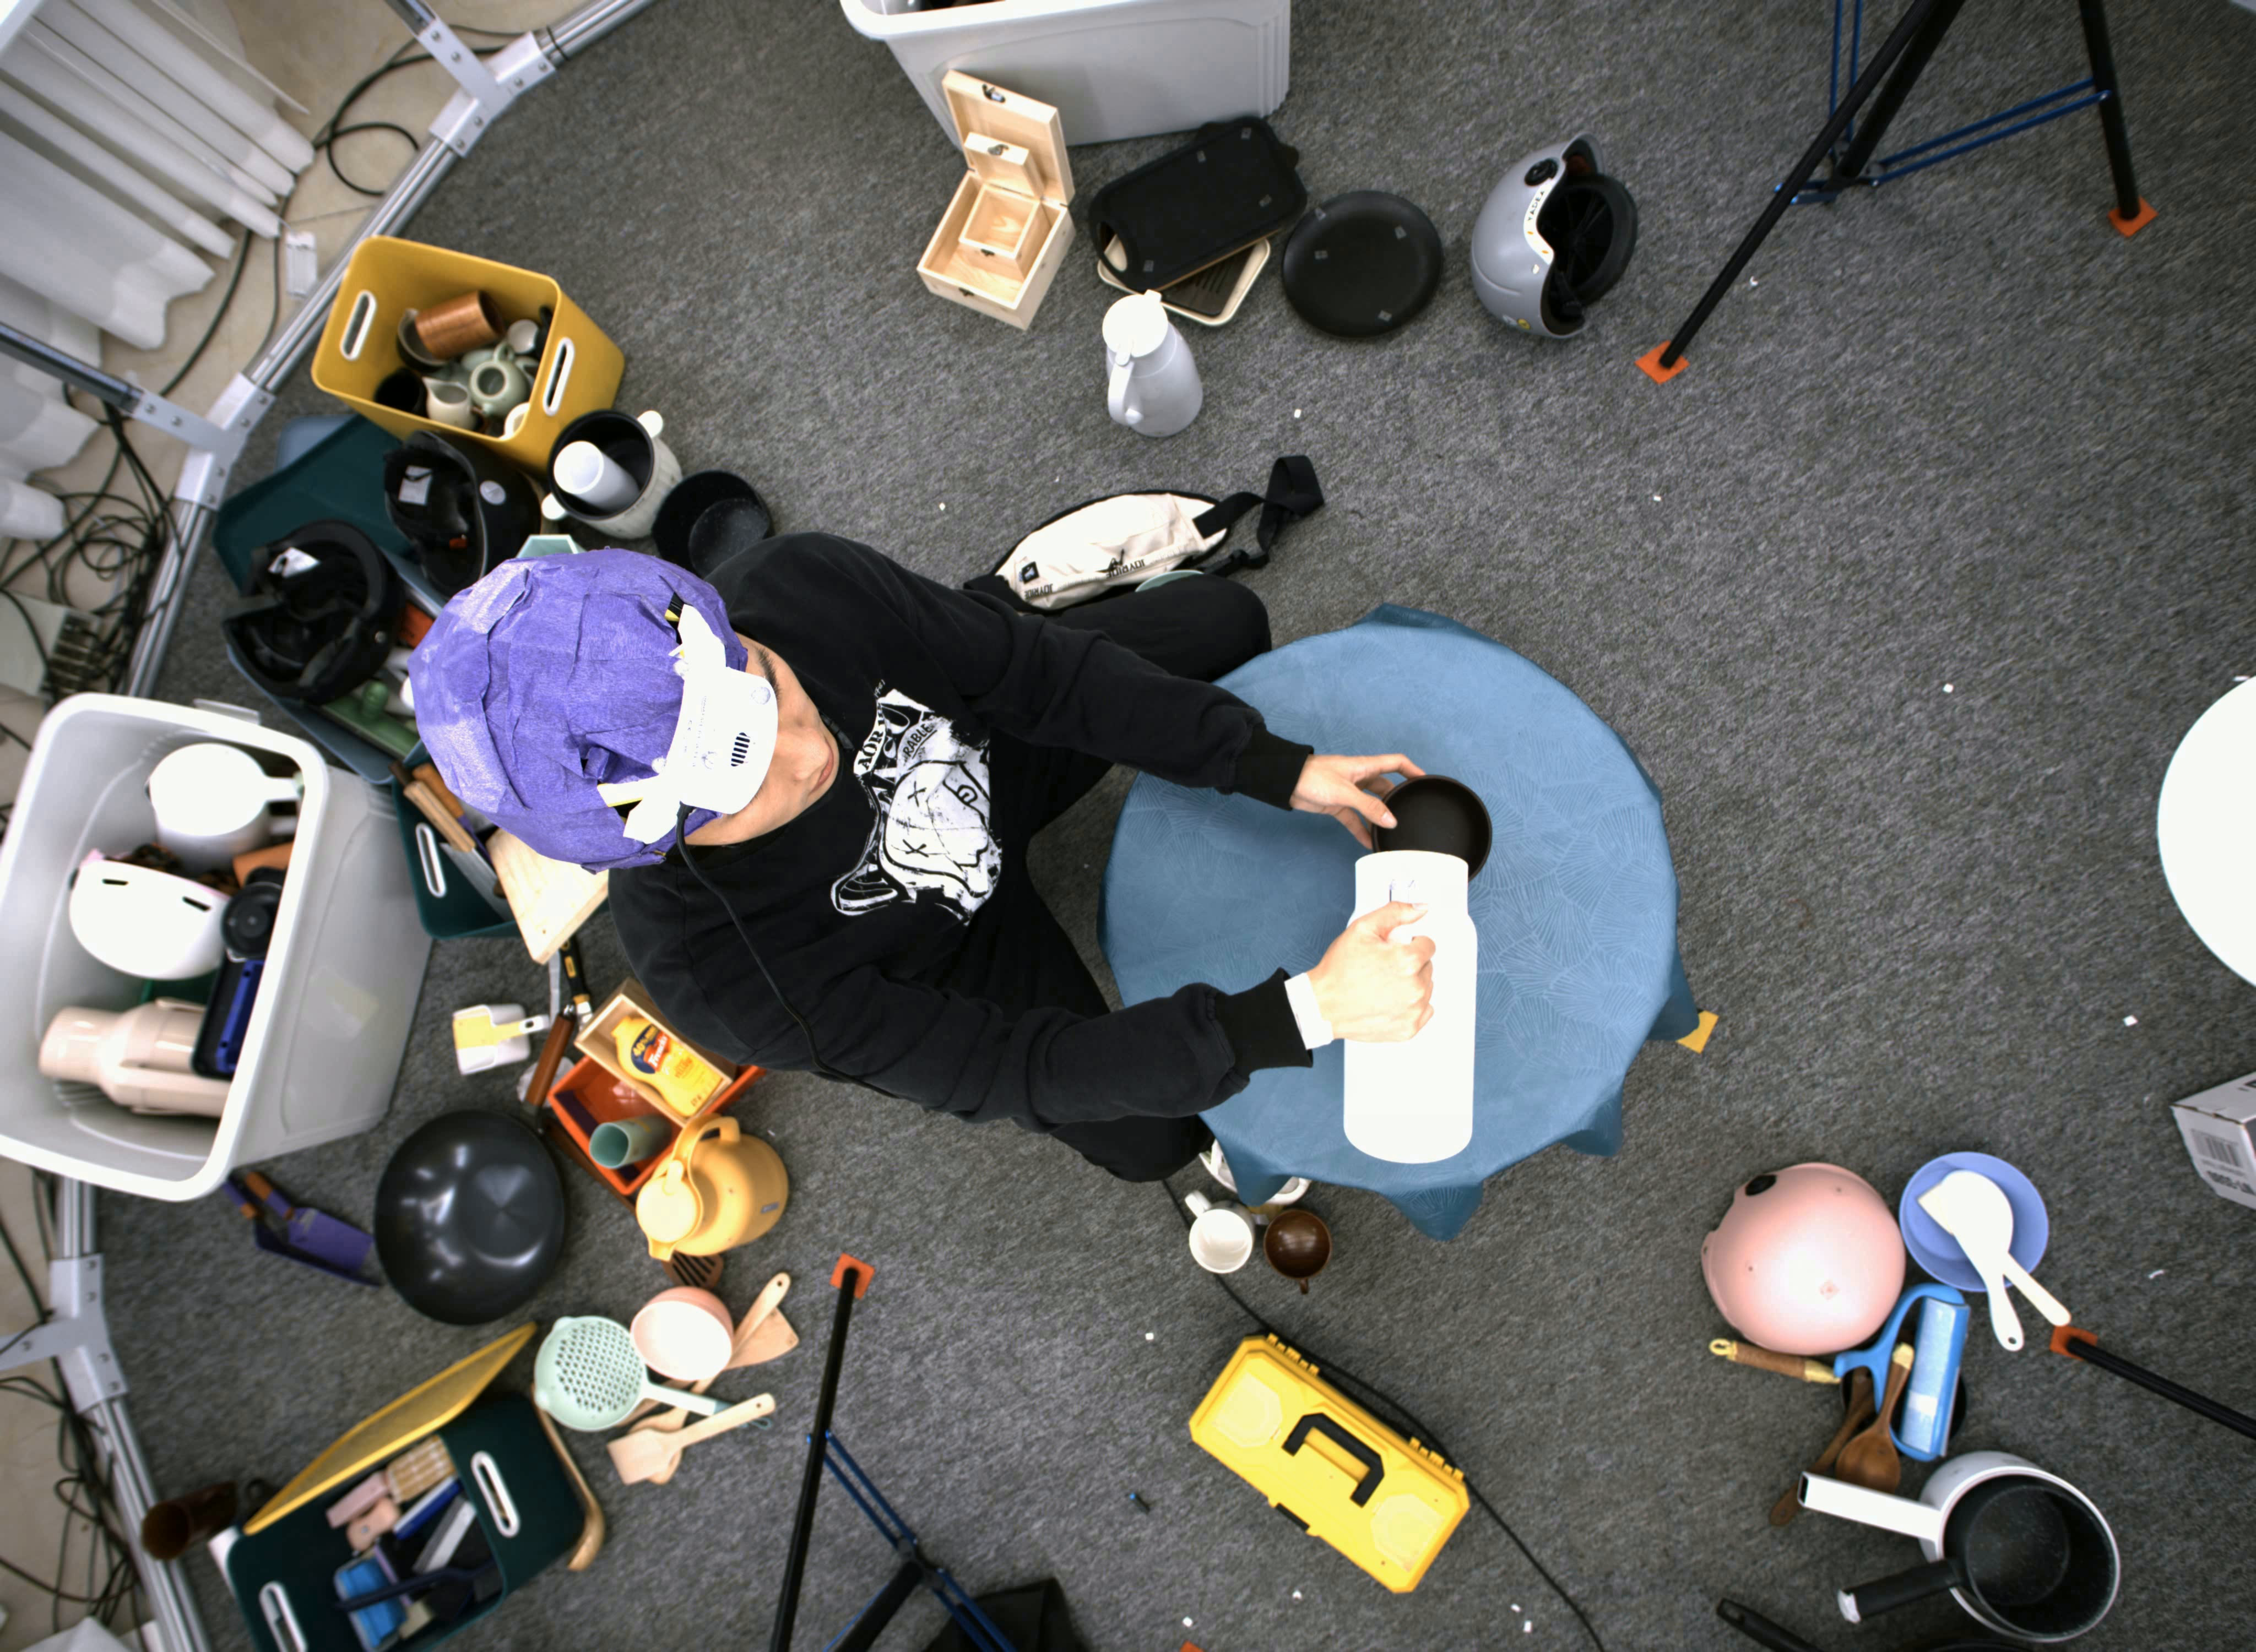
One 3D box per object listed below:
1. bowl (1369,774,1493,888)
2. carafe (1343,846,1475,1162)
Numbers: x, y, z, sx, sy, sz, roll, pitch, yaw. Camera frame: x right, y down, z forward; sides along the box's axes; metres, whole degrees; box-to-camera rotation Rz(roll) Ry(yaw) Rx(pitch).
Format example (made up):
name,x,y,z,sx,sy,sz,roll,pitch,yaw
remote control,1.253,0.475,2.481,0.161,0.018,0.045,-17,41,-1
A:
name,x,y,z,sx,sy,sz,roll,pitch,yaw
bowl,0.296,0.007,1.353,0.118,0.069,0.118,0,91,8
carafe,0.251,0.166,1.242,0.124,0.169,0.273,5,109,17
